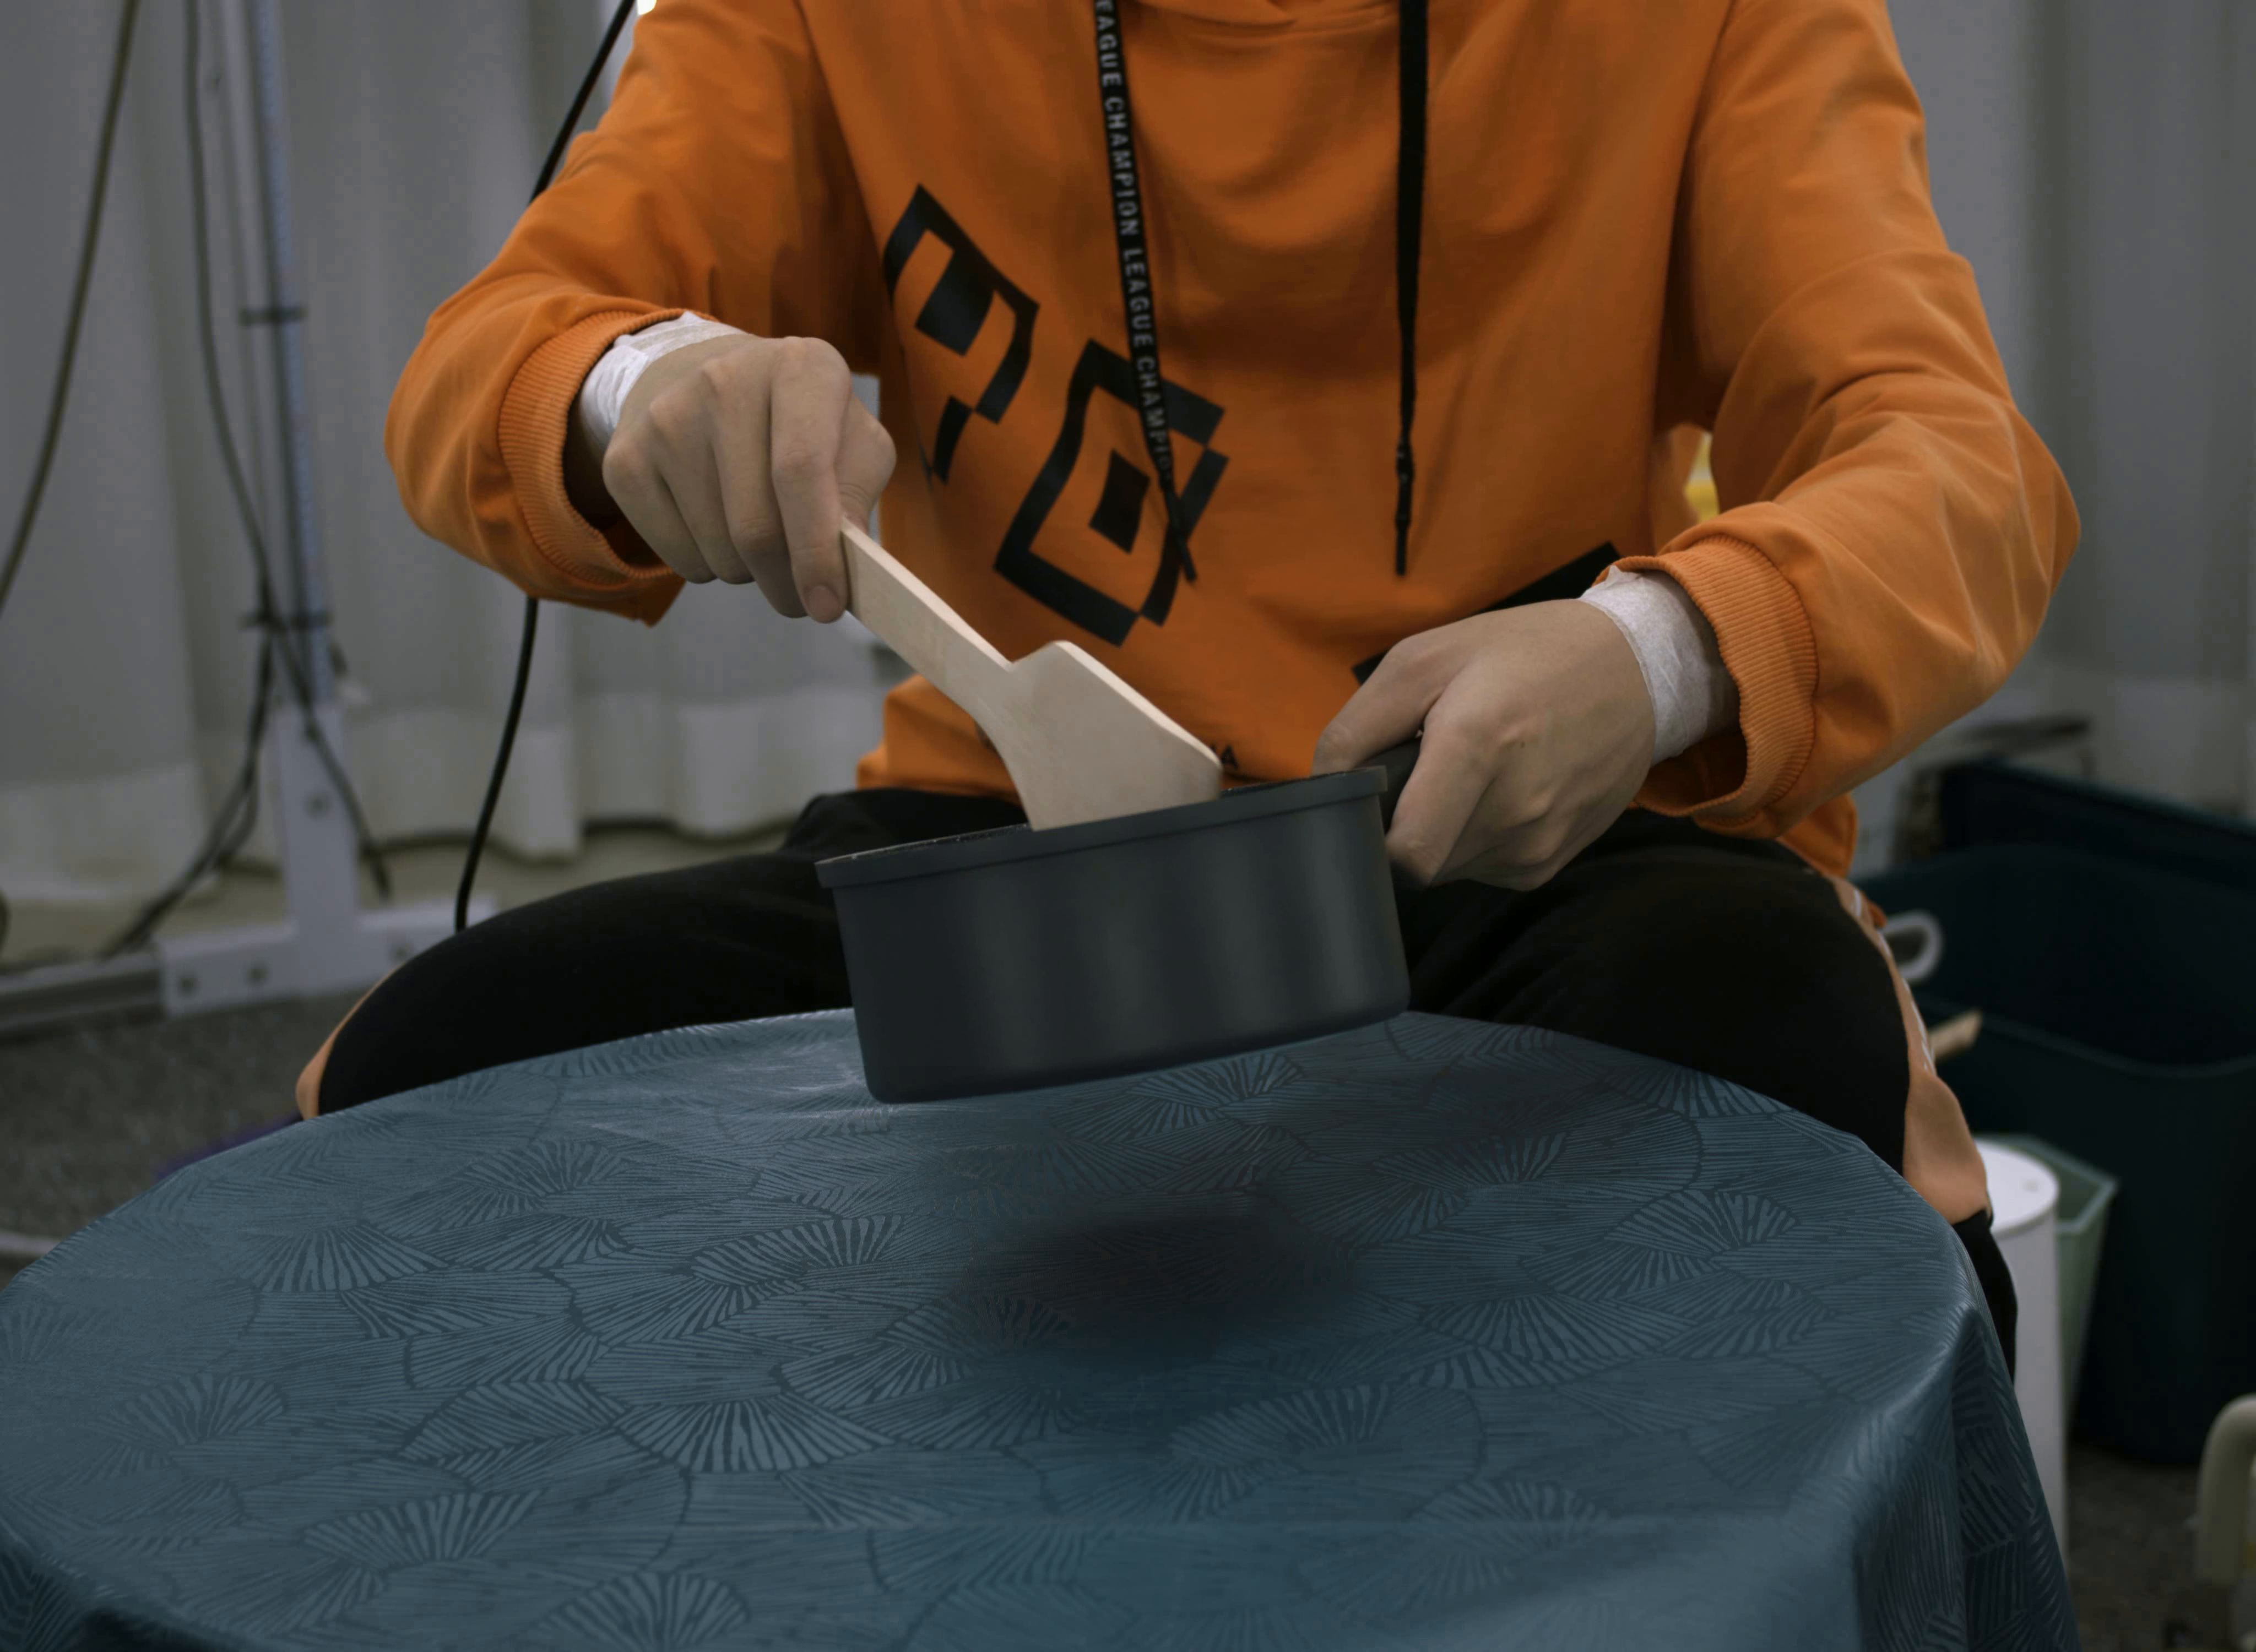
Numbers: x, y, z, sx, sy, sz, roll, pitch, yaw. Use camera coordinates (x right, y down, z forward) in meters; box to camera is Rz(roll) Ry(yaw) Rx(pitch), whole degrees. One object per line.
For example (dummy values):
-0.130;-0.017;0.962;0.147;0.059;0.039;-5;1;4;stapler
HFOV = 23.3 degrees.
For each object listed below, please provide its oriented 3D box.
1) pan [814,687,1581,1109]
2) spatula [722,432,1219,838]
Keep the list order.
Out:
0.044;0.020;1.677;0.172;0.086;0.328;-8;3;37;pan
-0.055;-0.055;1.683;0.010;0.071;0.296;-14;34;-29;spatula
